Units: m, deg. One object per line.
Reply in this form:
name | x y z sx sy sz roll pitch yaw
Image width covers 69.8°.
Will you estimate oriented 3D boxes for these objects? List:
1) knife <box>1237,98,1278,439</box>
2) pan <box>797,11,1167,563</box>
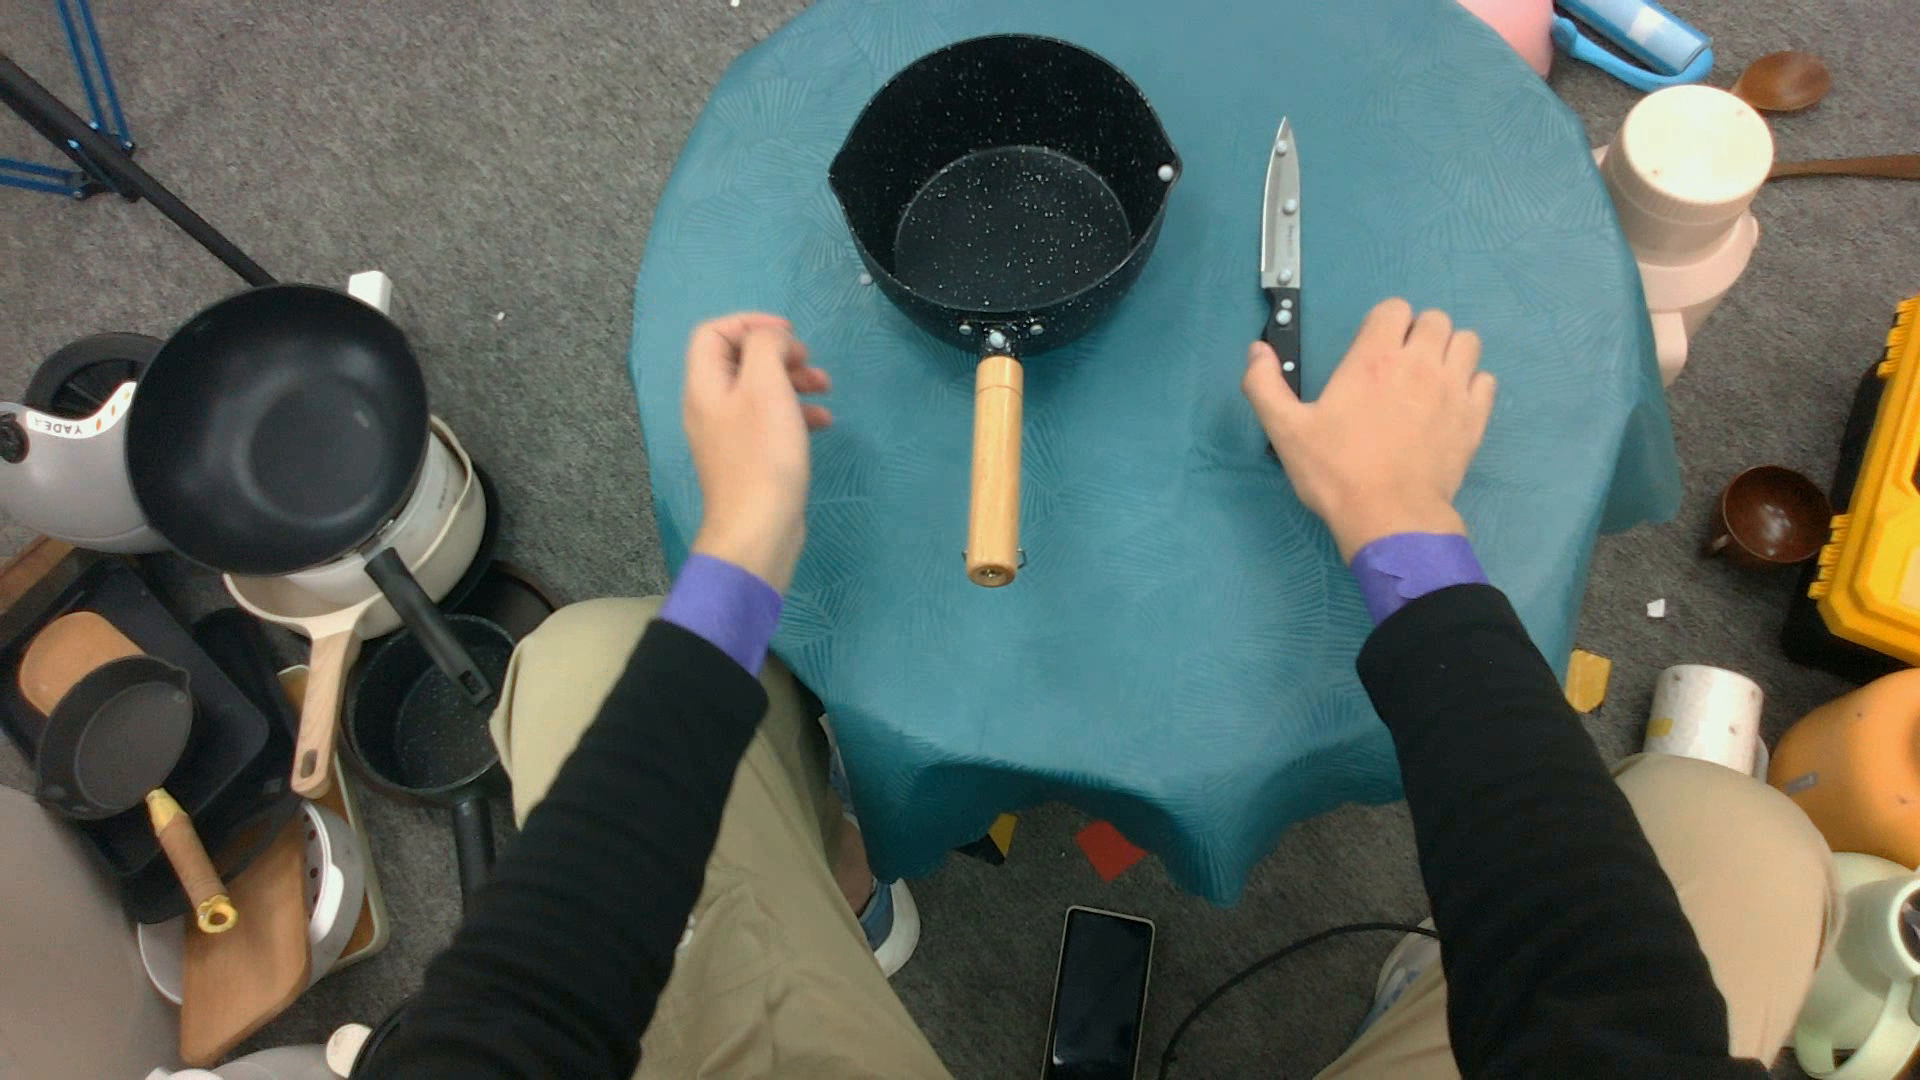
knife | 0.177 -0.168 0.818 0.024 0.016 0.239 2 67 7
pan | 0.013 -0.135 0.770 0.207 0.108 0.344 -1 69 4
